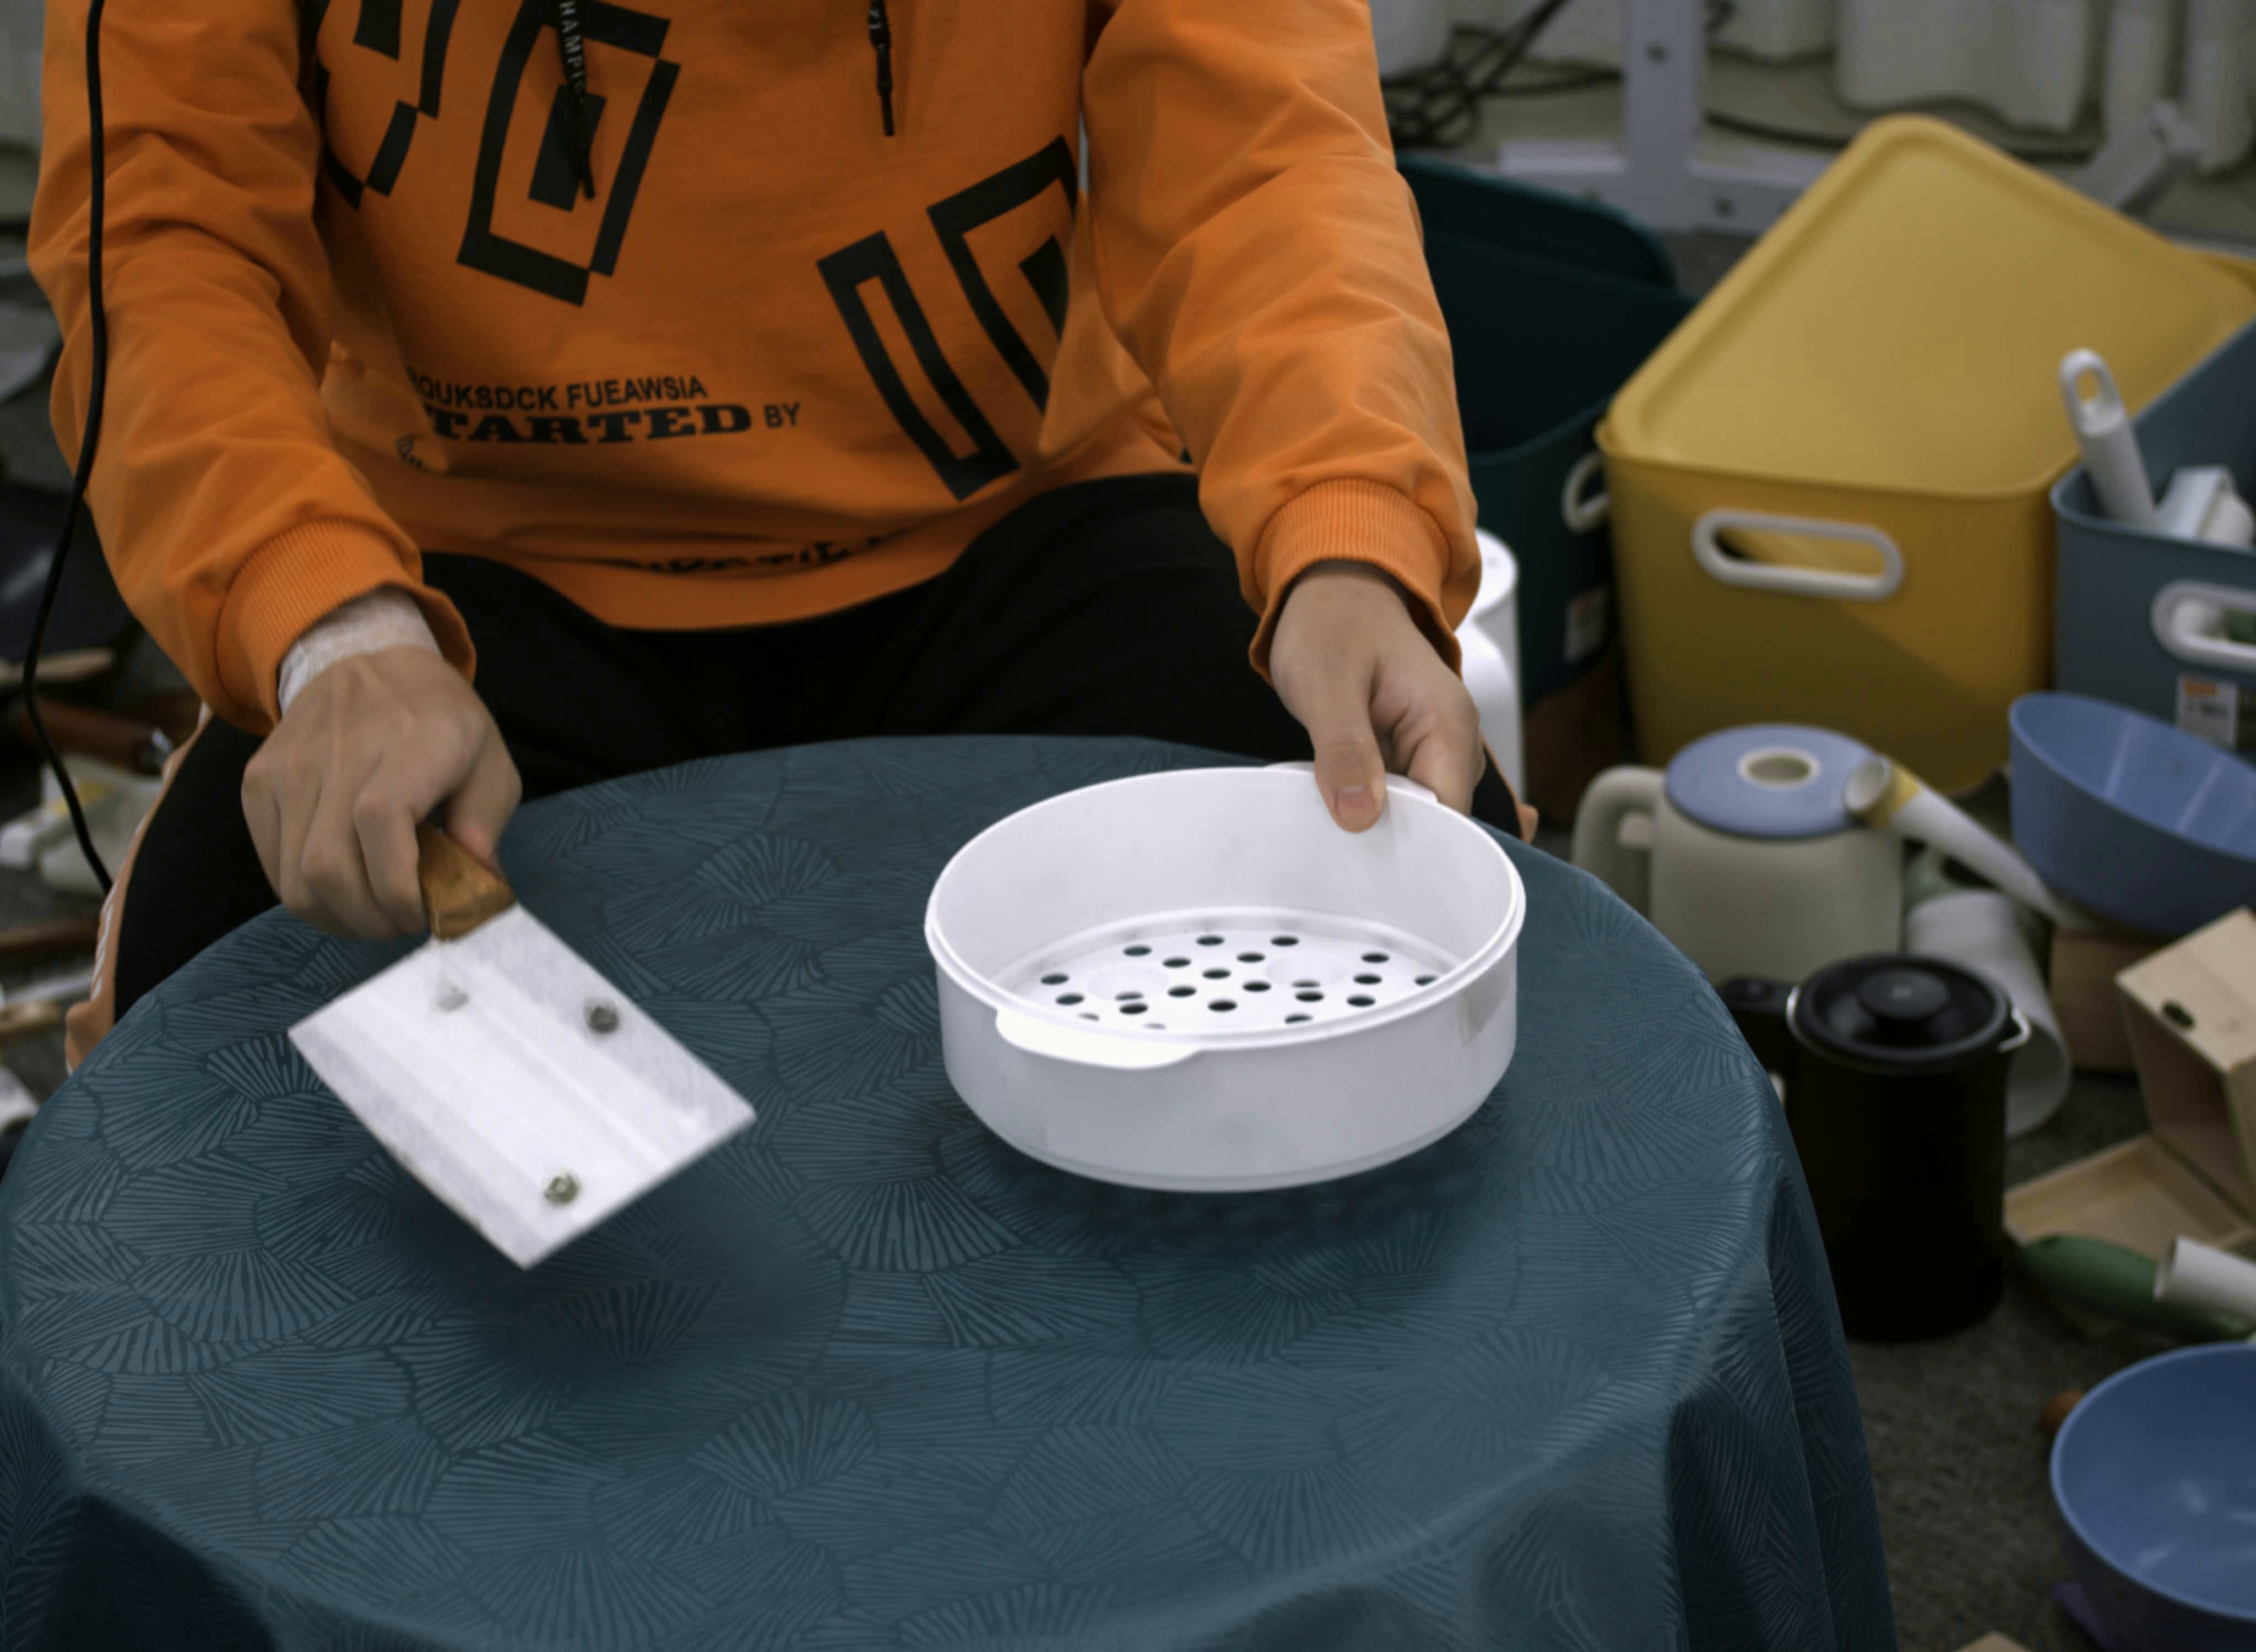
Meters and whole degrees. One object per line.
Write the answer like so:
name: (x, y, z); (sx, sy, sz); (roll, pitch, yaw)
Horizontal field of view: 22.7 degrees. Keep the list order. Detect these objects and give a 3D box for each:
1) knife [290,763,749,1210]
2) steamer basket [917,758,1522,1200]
knife: (-0.226, 0.054, 1.863); (0.093, 0.021, 0.307); (-33, 34, -16)
steamer basket: (0.032, 0.052, 1.876); (0.200, 0.068, 0.234); (9, 29, 24)
